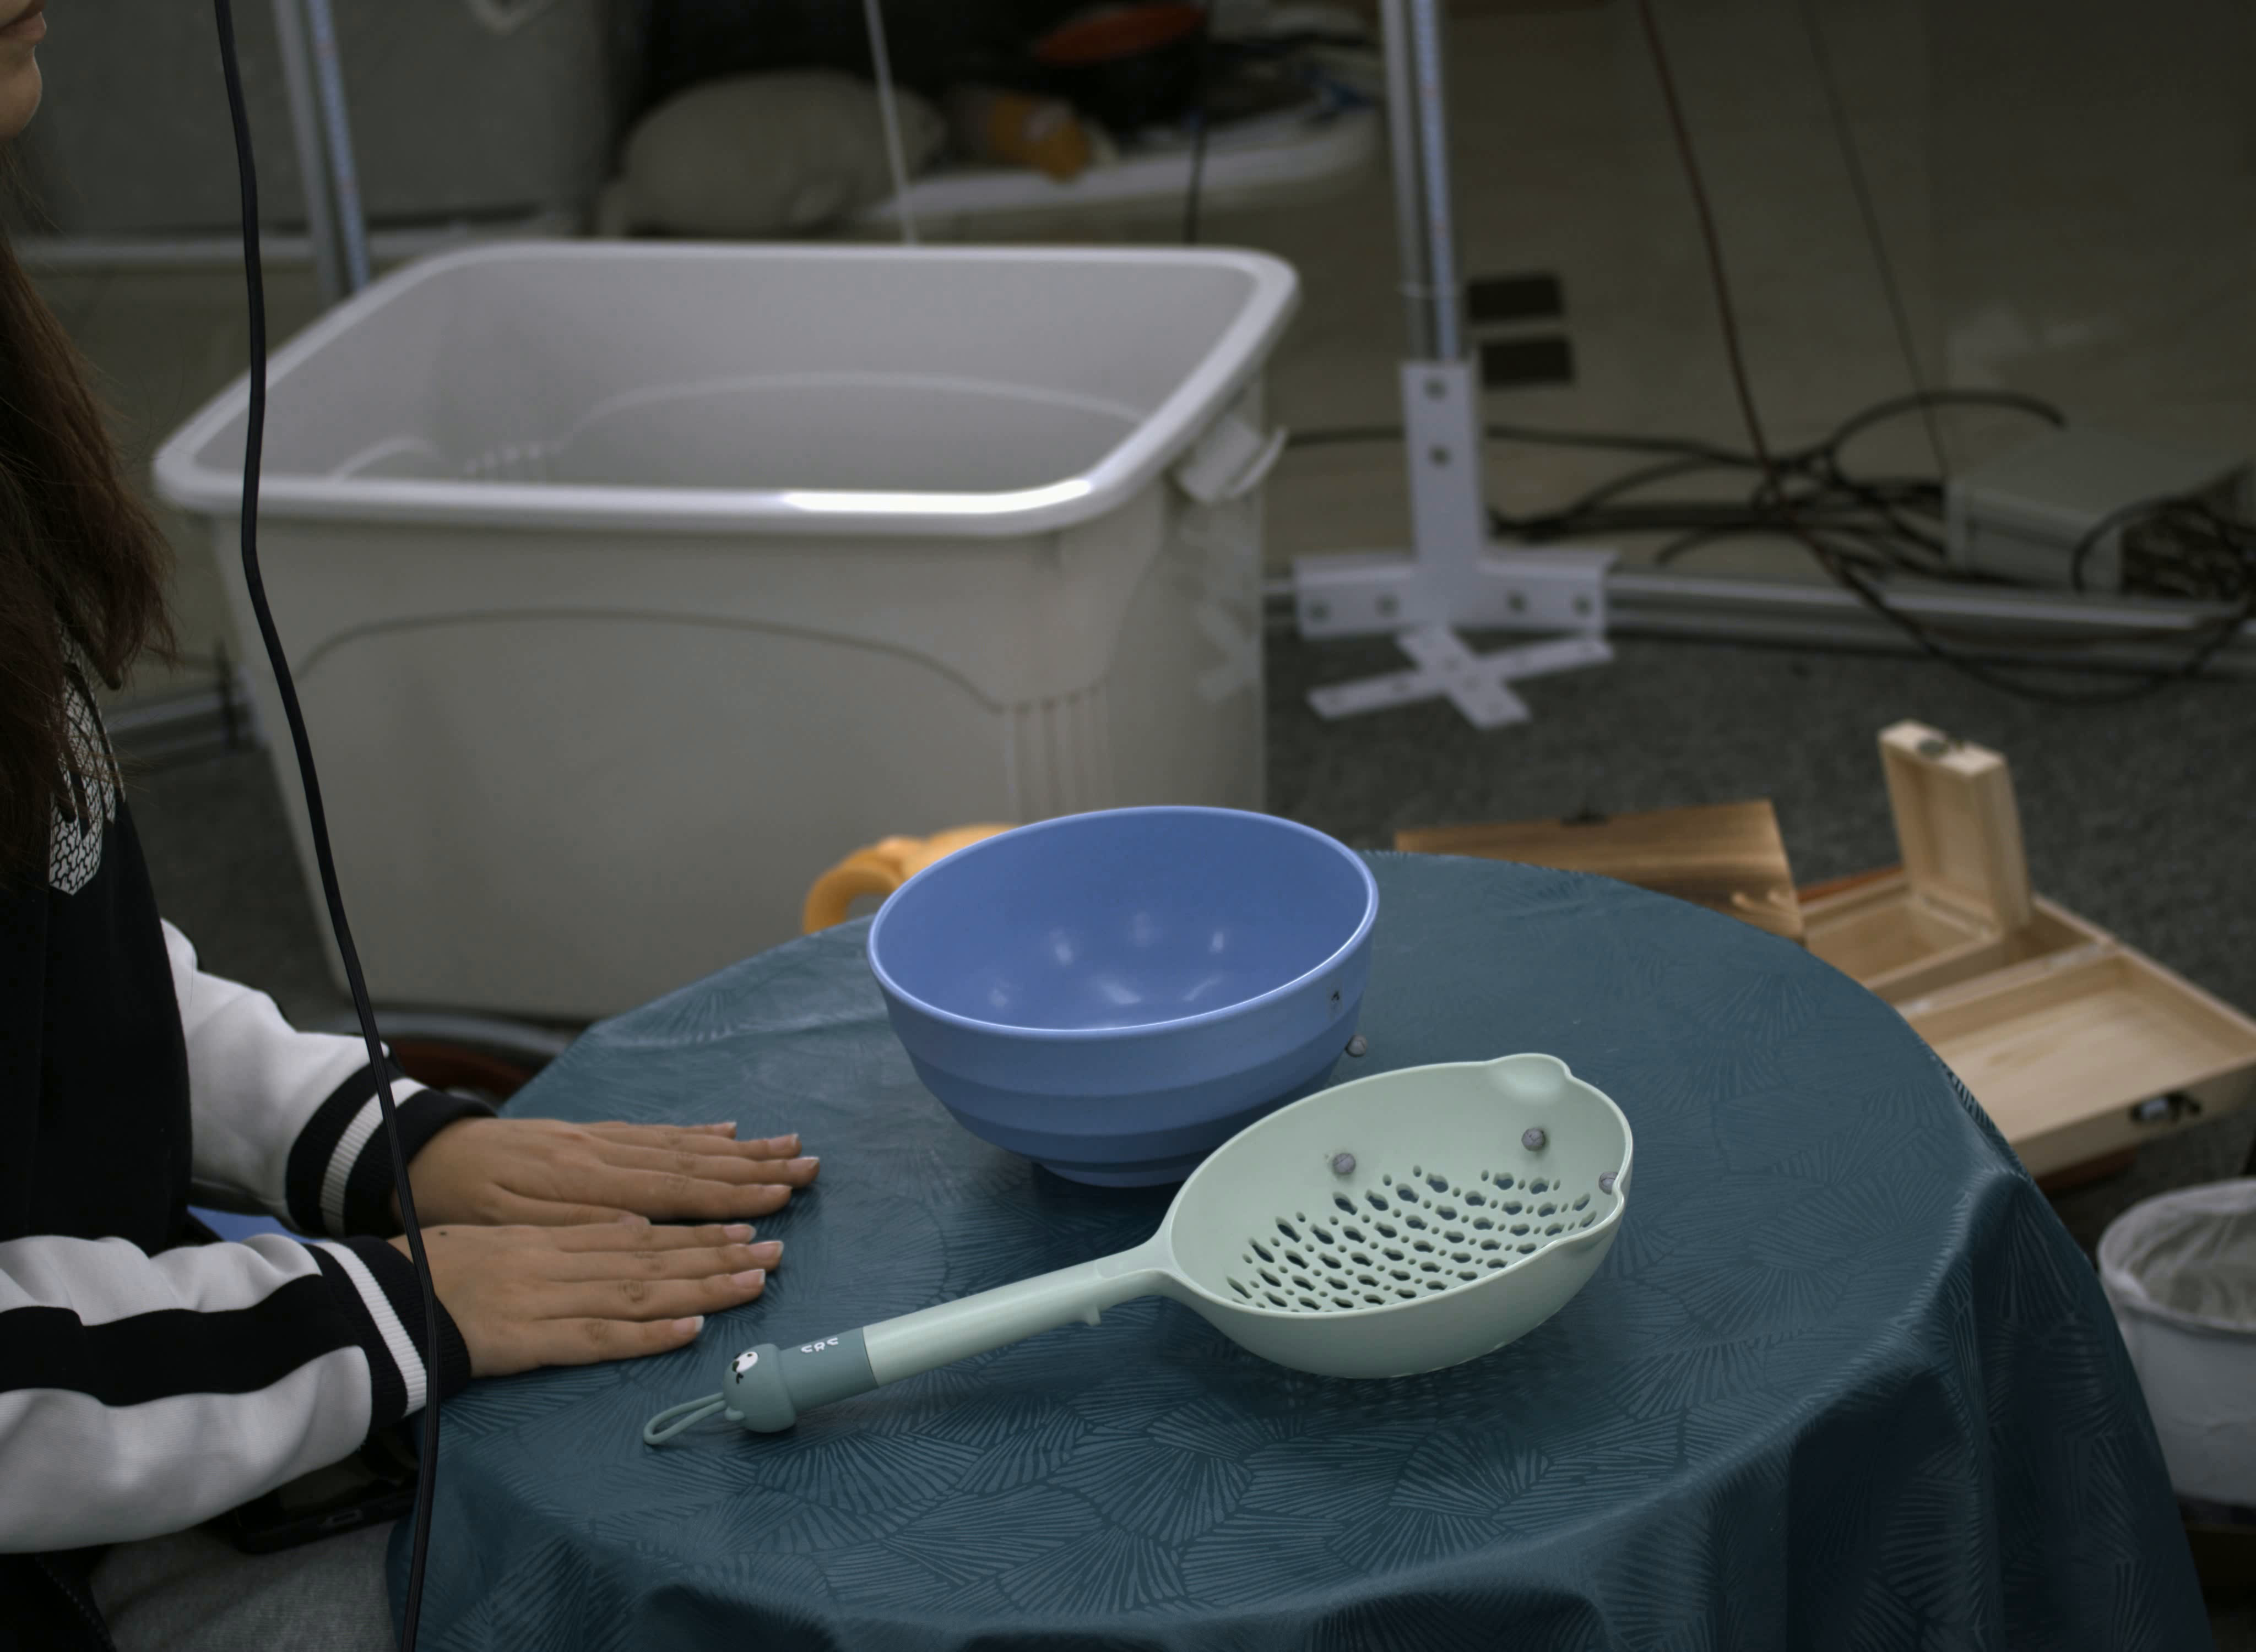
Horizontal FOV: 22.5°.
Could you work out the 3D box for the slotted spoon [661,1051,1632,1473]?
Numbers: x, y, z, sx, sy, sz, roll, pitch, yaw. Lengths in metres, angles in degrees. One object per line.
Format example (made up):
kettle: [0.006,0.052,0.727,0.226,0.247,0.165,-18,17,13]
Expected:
slotted spoon: [0.005,0.167,2.018,0.358,0.076,0.167,-10,24,-2]

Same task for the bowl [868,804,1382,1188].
bowl: [0.003,0.076,2.169,0.196,0.097,0.193,-5,25,3]
